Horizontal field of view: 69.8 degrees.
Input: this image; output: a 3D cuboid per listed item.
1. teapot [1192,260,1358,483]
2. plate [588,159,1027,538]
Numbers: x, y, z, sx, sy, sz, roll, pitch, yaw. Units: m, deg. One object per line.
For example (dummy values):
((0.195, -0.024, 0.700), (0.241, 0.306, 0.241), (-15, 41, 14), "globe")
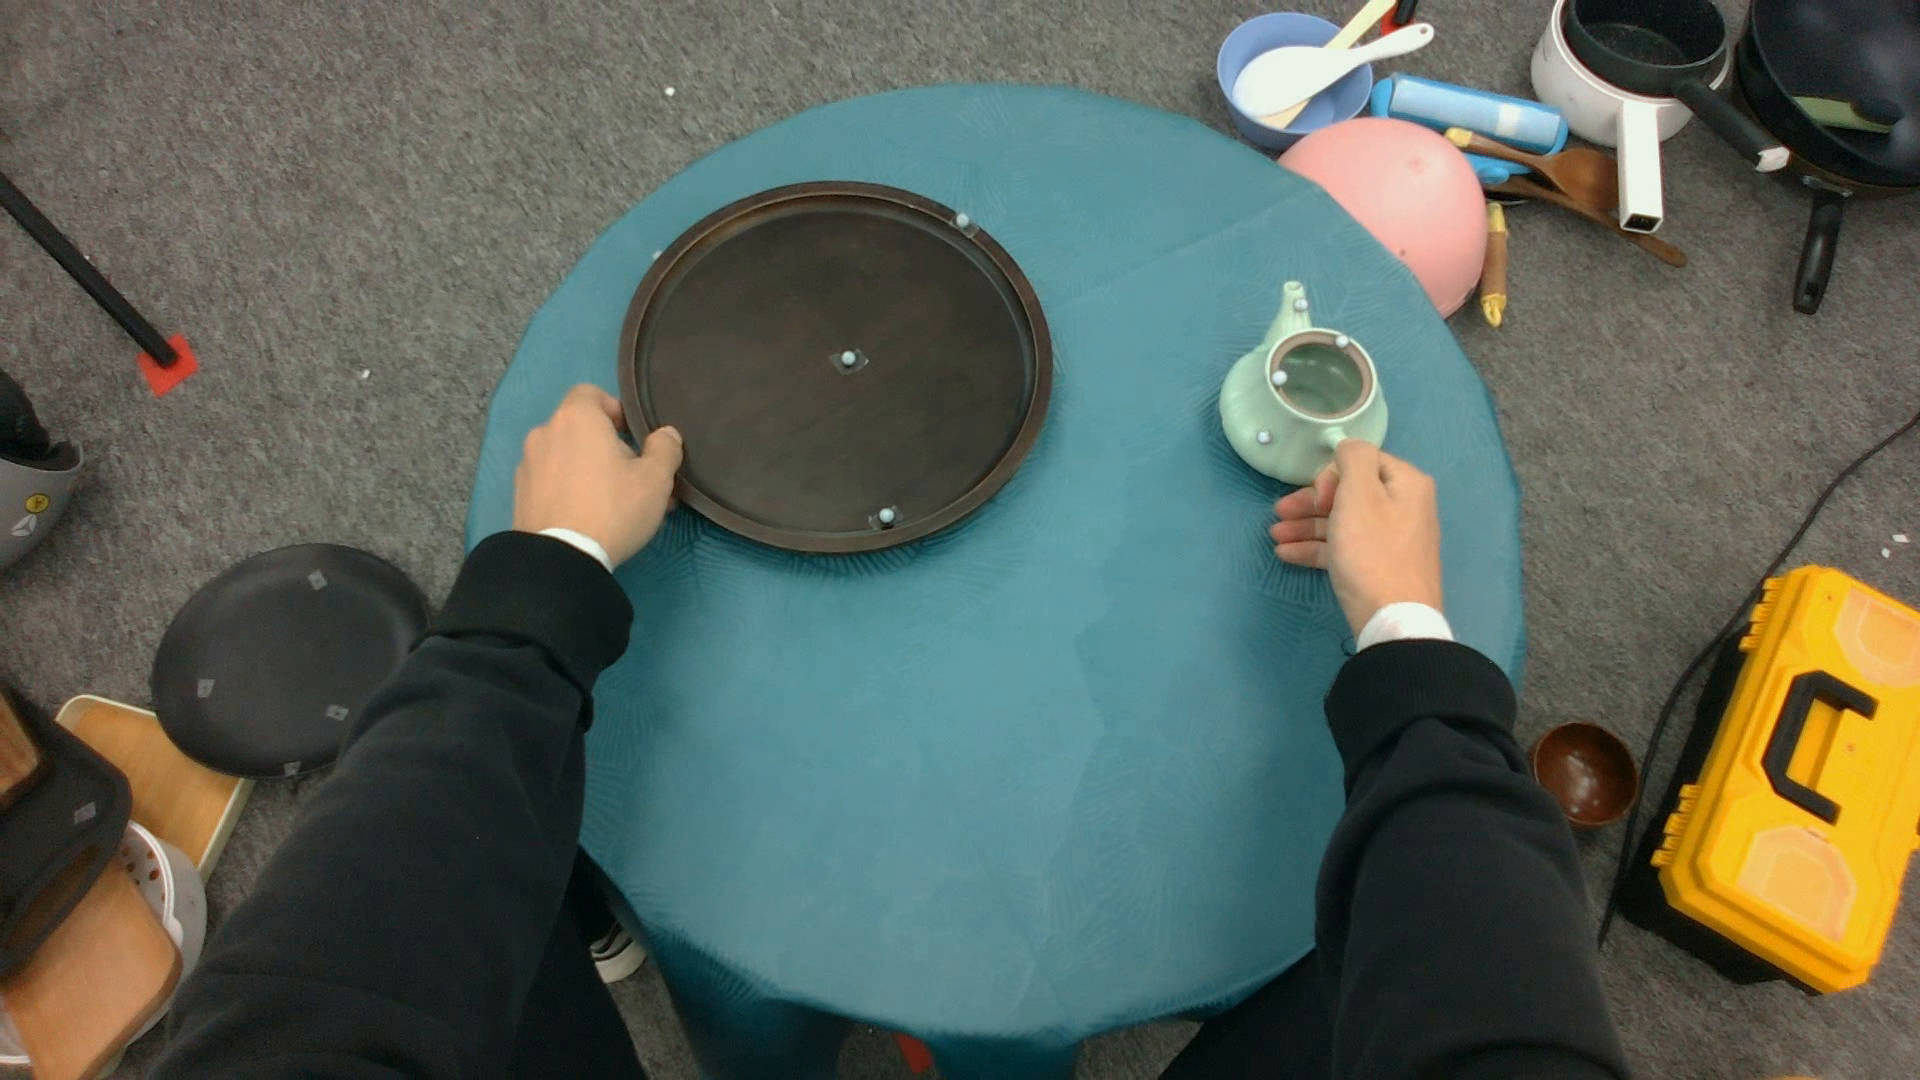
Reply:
((0.185, -0.090, 0.789), (0.096, 0.061, 0.137), (-10, 65, -9), "teapot")
((-0.087, -0.115, 0.804), (0.255, 0.029, 0.255), (2, 65, -4), "plate")
